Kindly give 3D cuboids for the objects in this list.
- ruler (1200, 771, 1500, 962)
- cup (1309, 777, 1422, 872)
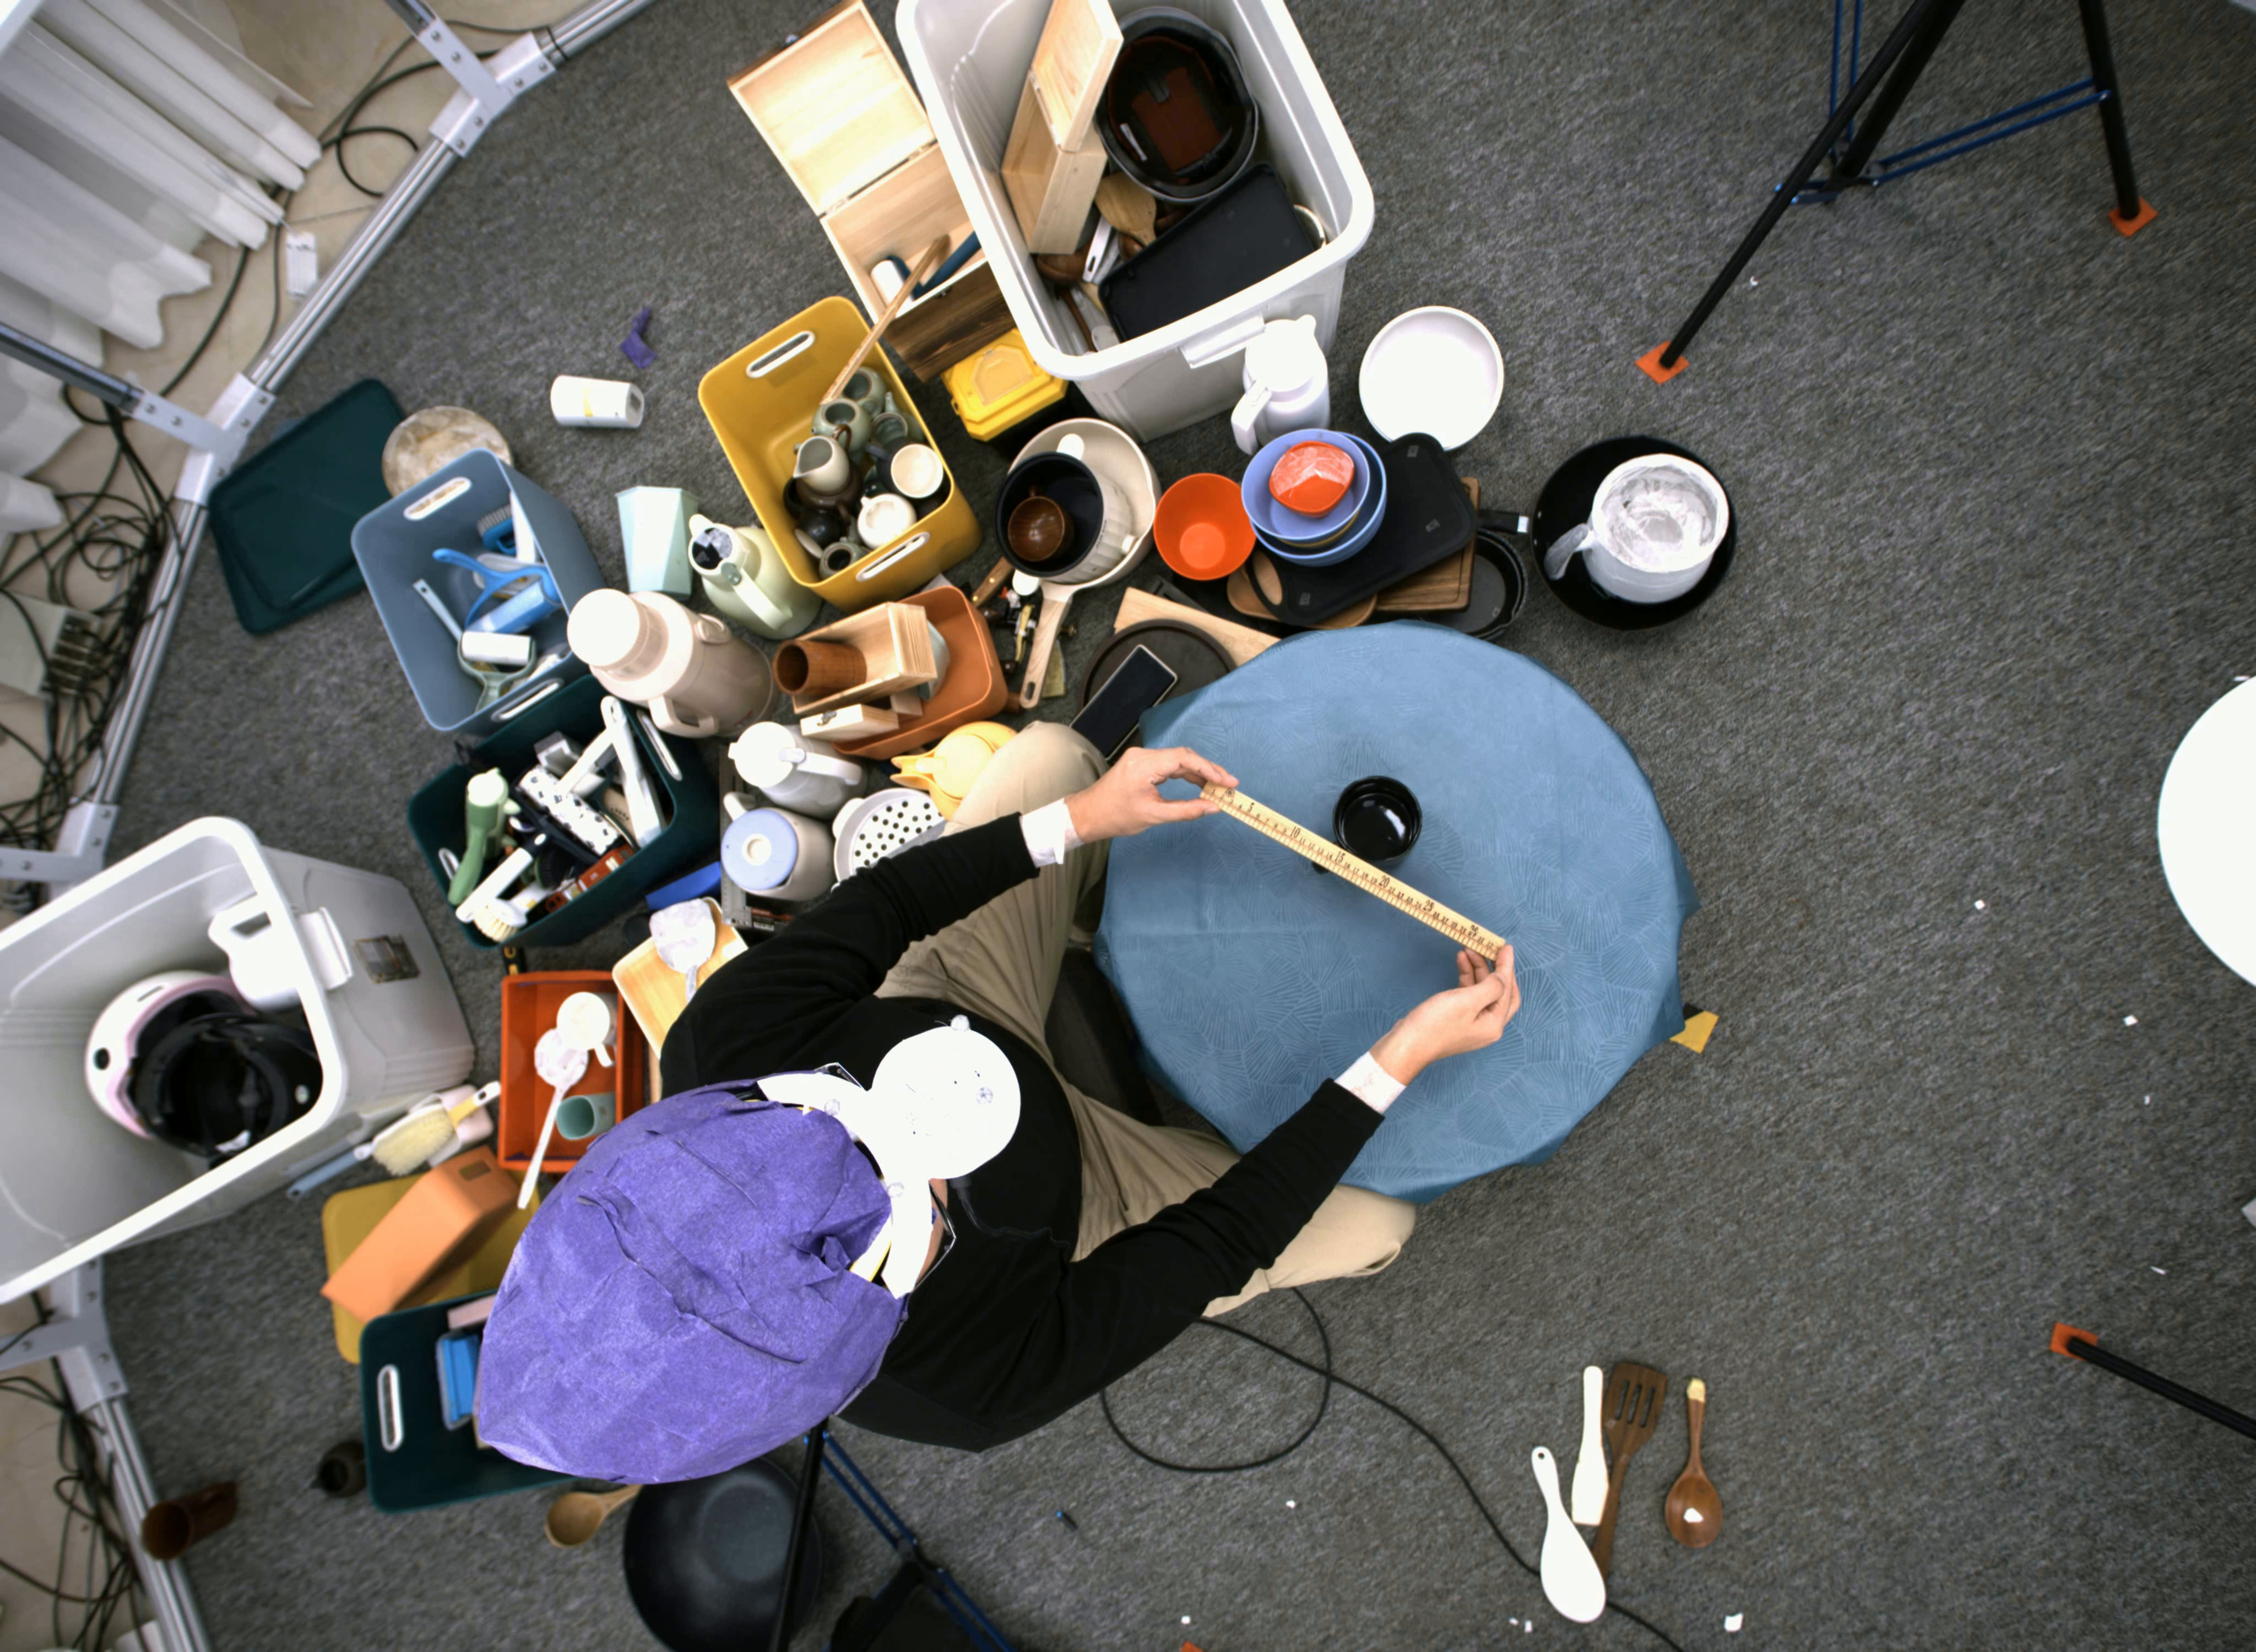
[{"bbox_3d":[0.220,0.038,1.360,0.332,0.022,0.027,31,74,2],"label":"ruler"},{"bbox_3d":[0.240,0.007,1.417,0.124,0.105,0.088,-34,82,5],"label":"cup"}]
